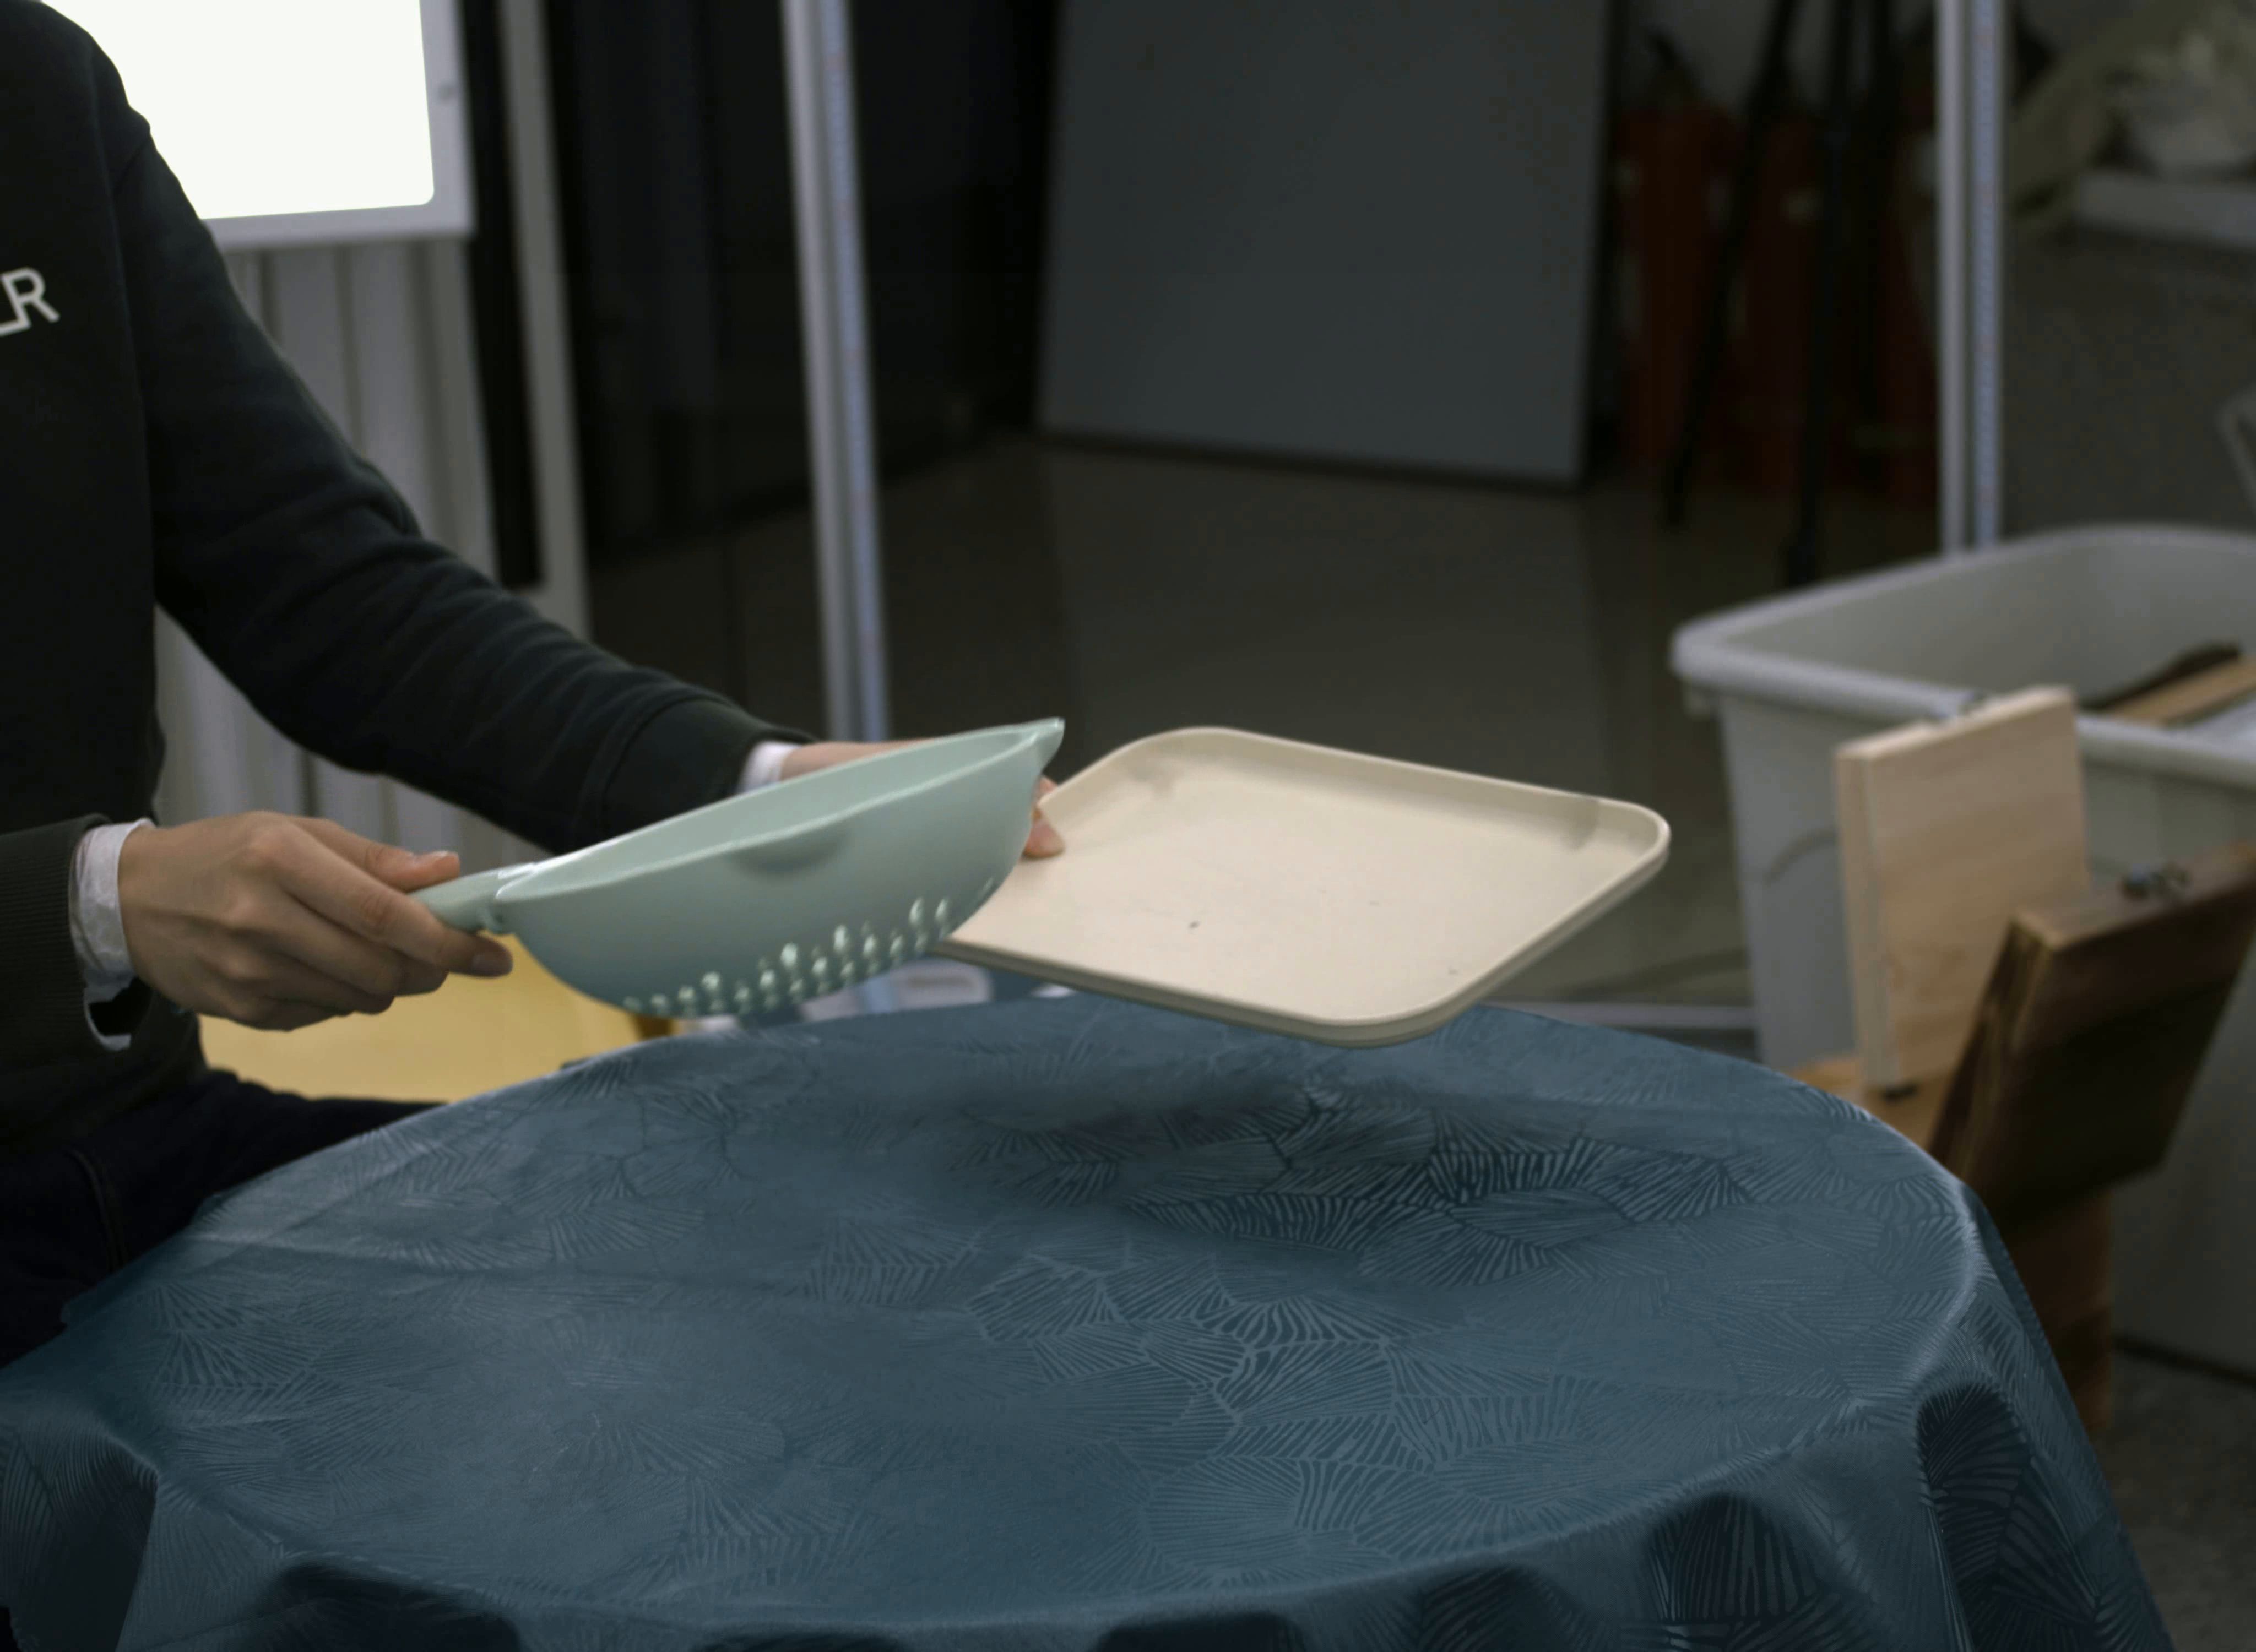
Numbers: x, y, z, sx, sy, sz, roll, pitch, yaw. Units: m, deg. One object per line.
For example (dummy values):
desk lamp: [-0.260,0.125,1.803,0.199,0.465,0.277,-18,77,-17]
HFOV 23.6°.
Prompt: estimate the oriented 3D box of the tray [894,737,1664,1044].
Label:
tray: [0.049,0.021,1.796,0.242,0.017,0.168,9,31,42]

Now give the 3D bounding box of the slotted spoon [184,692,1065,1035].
slotted spoon: [-0.175,0.022,1.663,0.361,0.076,0.166,-4,12,39]
